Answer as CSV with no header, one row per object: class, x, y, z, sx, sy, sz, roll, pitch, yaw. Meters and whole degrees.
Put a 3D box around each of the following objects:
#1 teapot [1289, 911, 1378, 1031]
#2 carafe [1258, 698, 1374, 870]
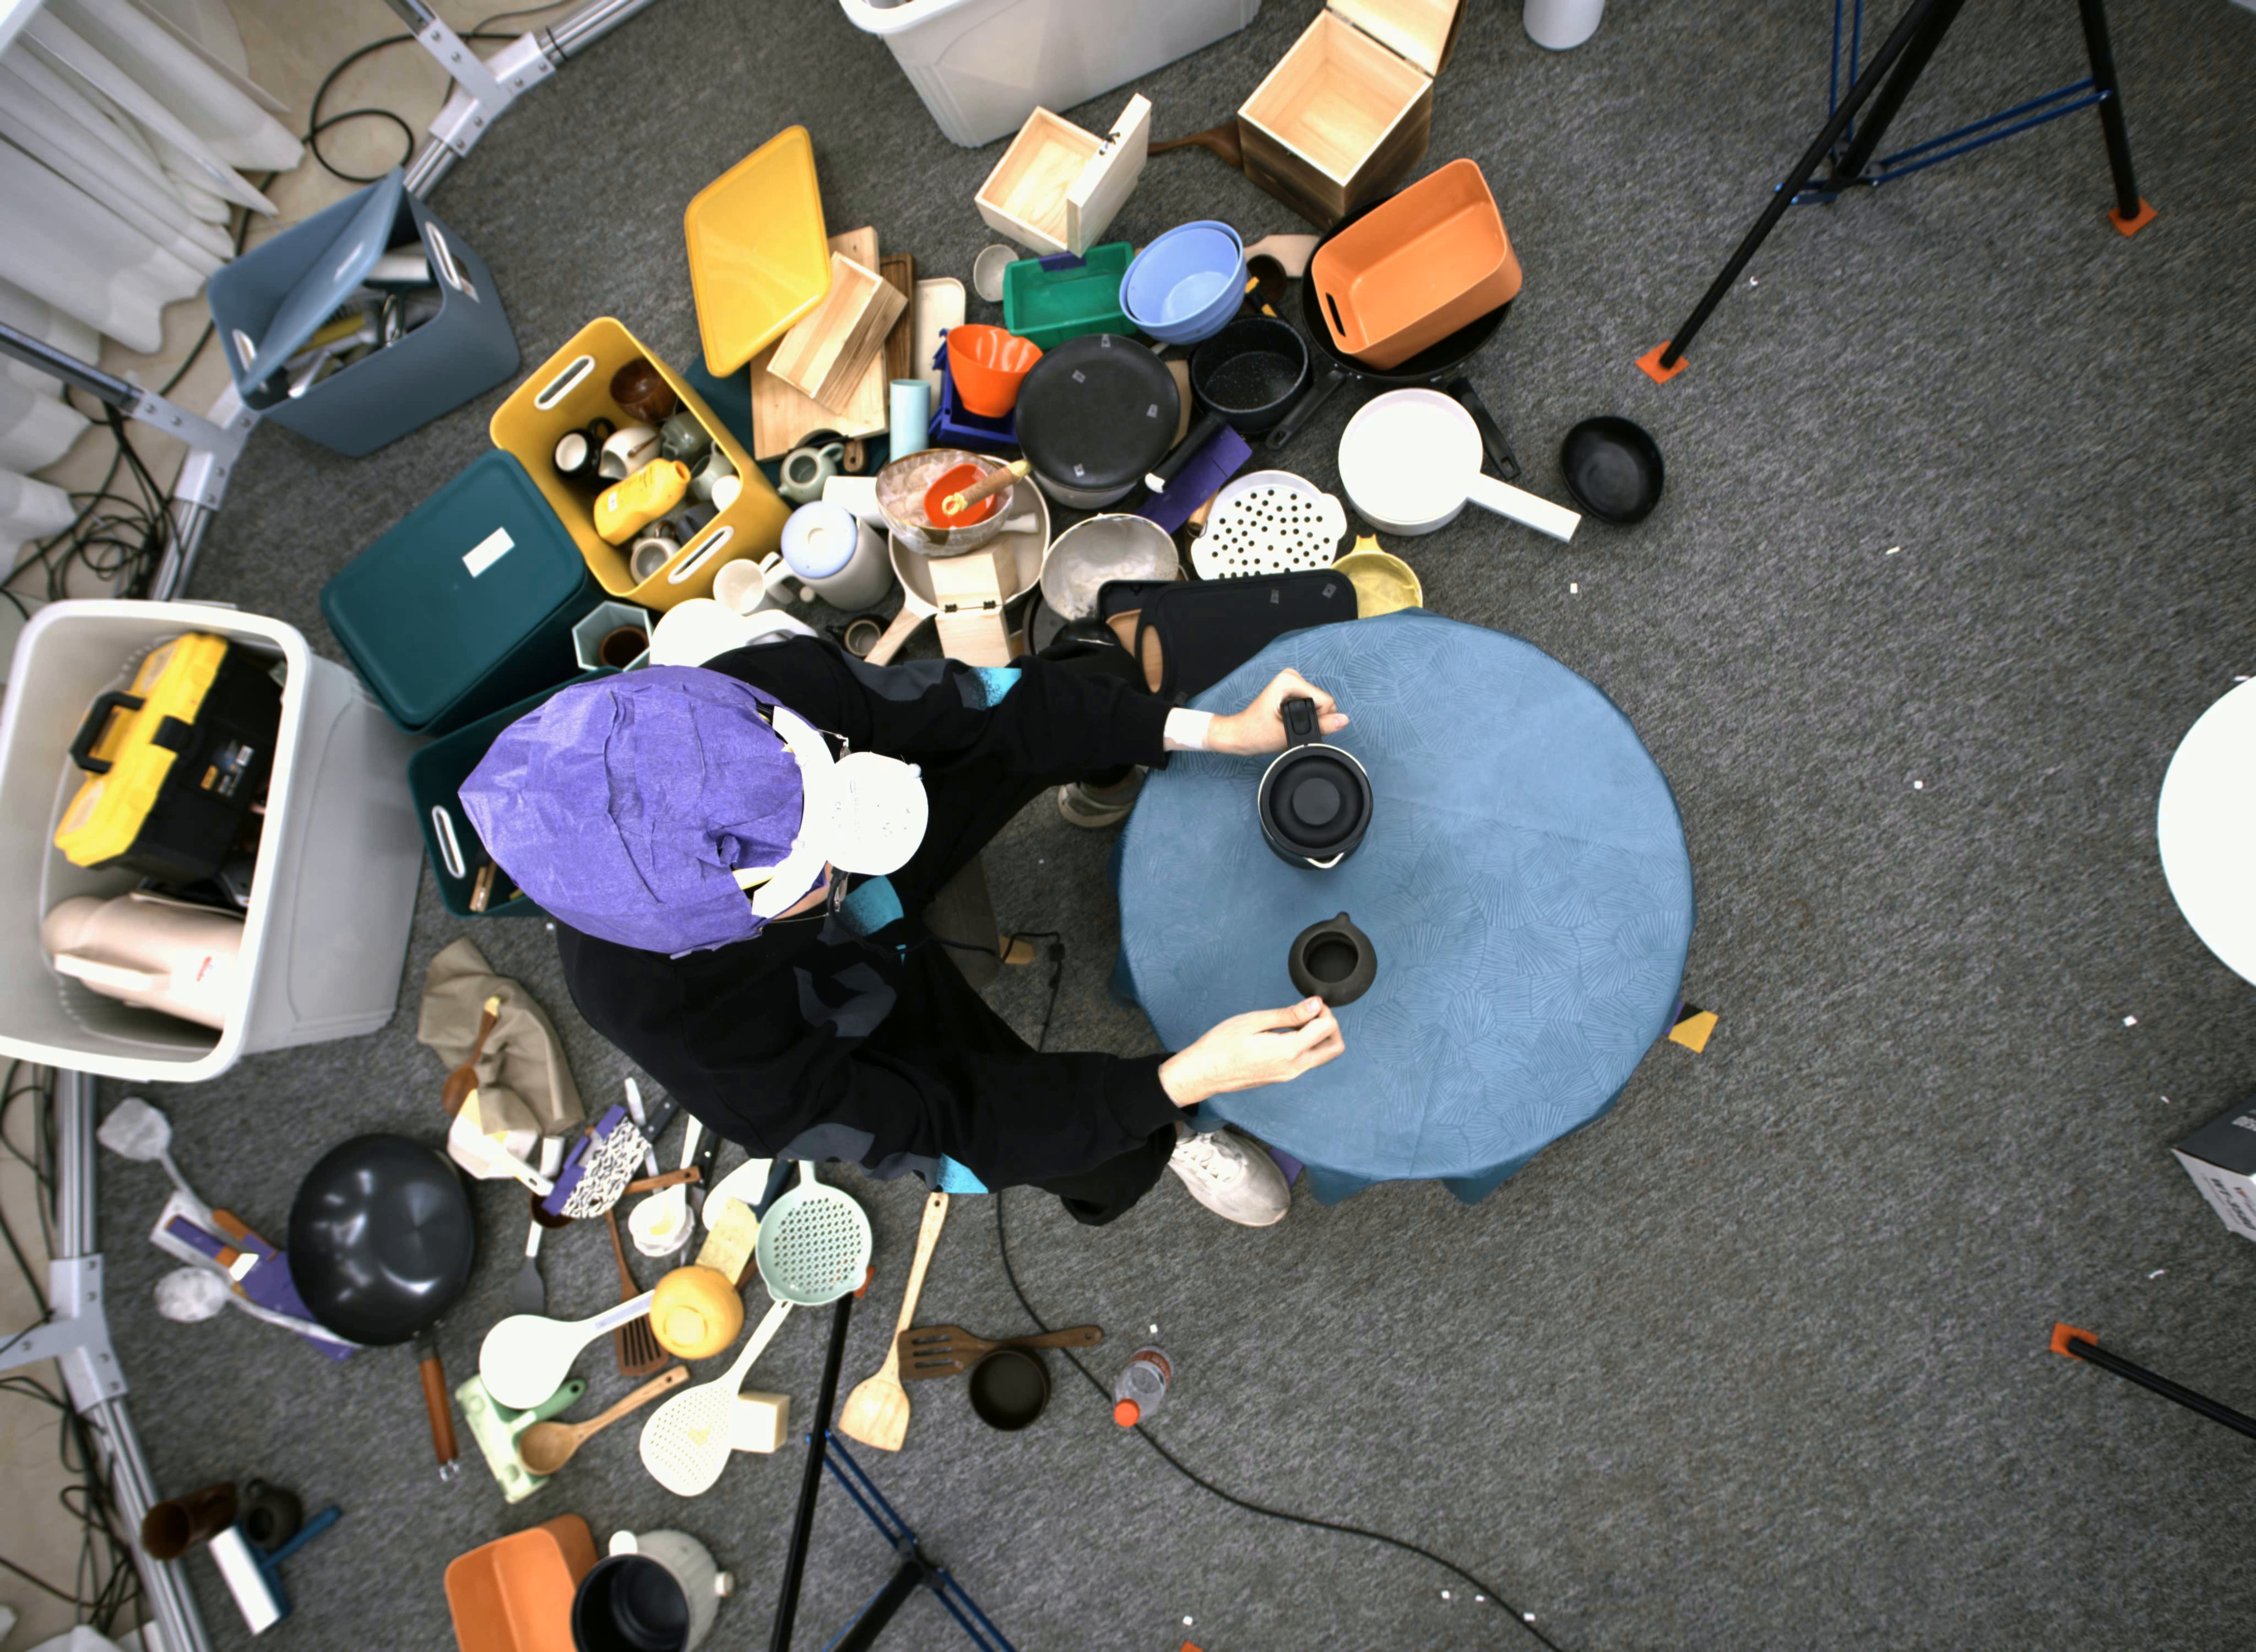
teapot,0.185,0.136,1.283,0.083,0.053,0.113,21,77,20
carafe,0.180,-0.040,1.361,0.115,0.173,0.171,-12,87,8
